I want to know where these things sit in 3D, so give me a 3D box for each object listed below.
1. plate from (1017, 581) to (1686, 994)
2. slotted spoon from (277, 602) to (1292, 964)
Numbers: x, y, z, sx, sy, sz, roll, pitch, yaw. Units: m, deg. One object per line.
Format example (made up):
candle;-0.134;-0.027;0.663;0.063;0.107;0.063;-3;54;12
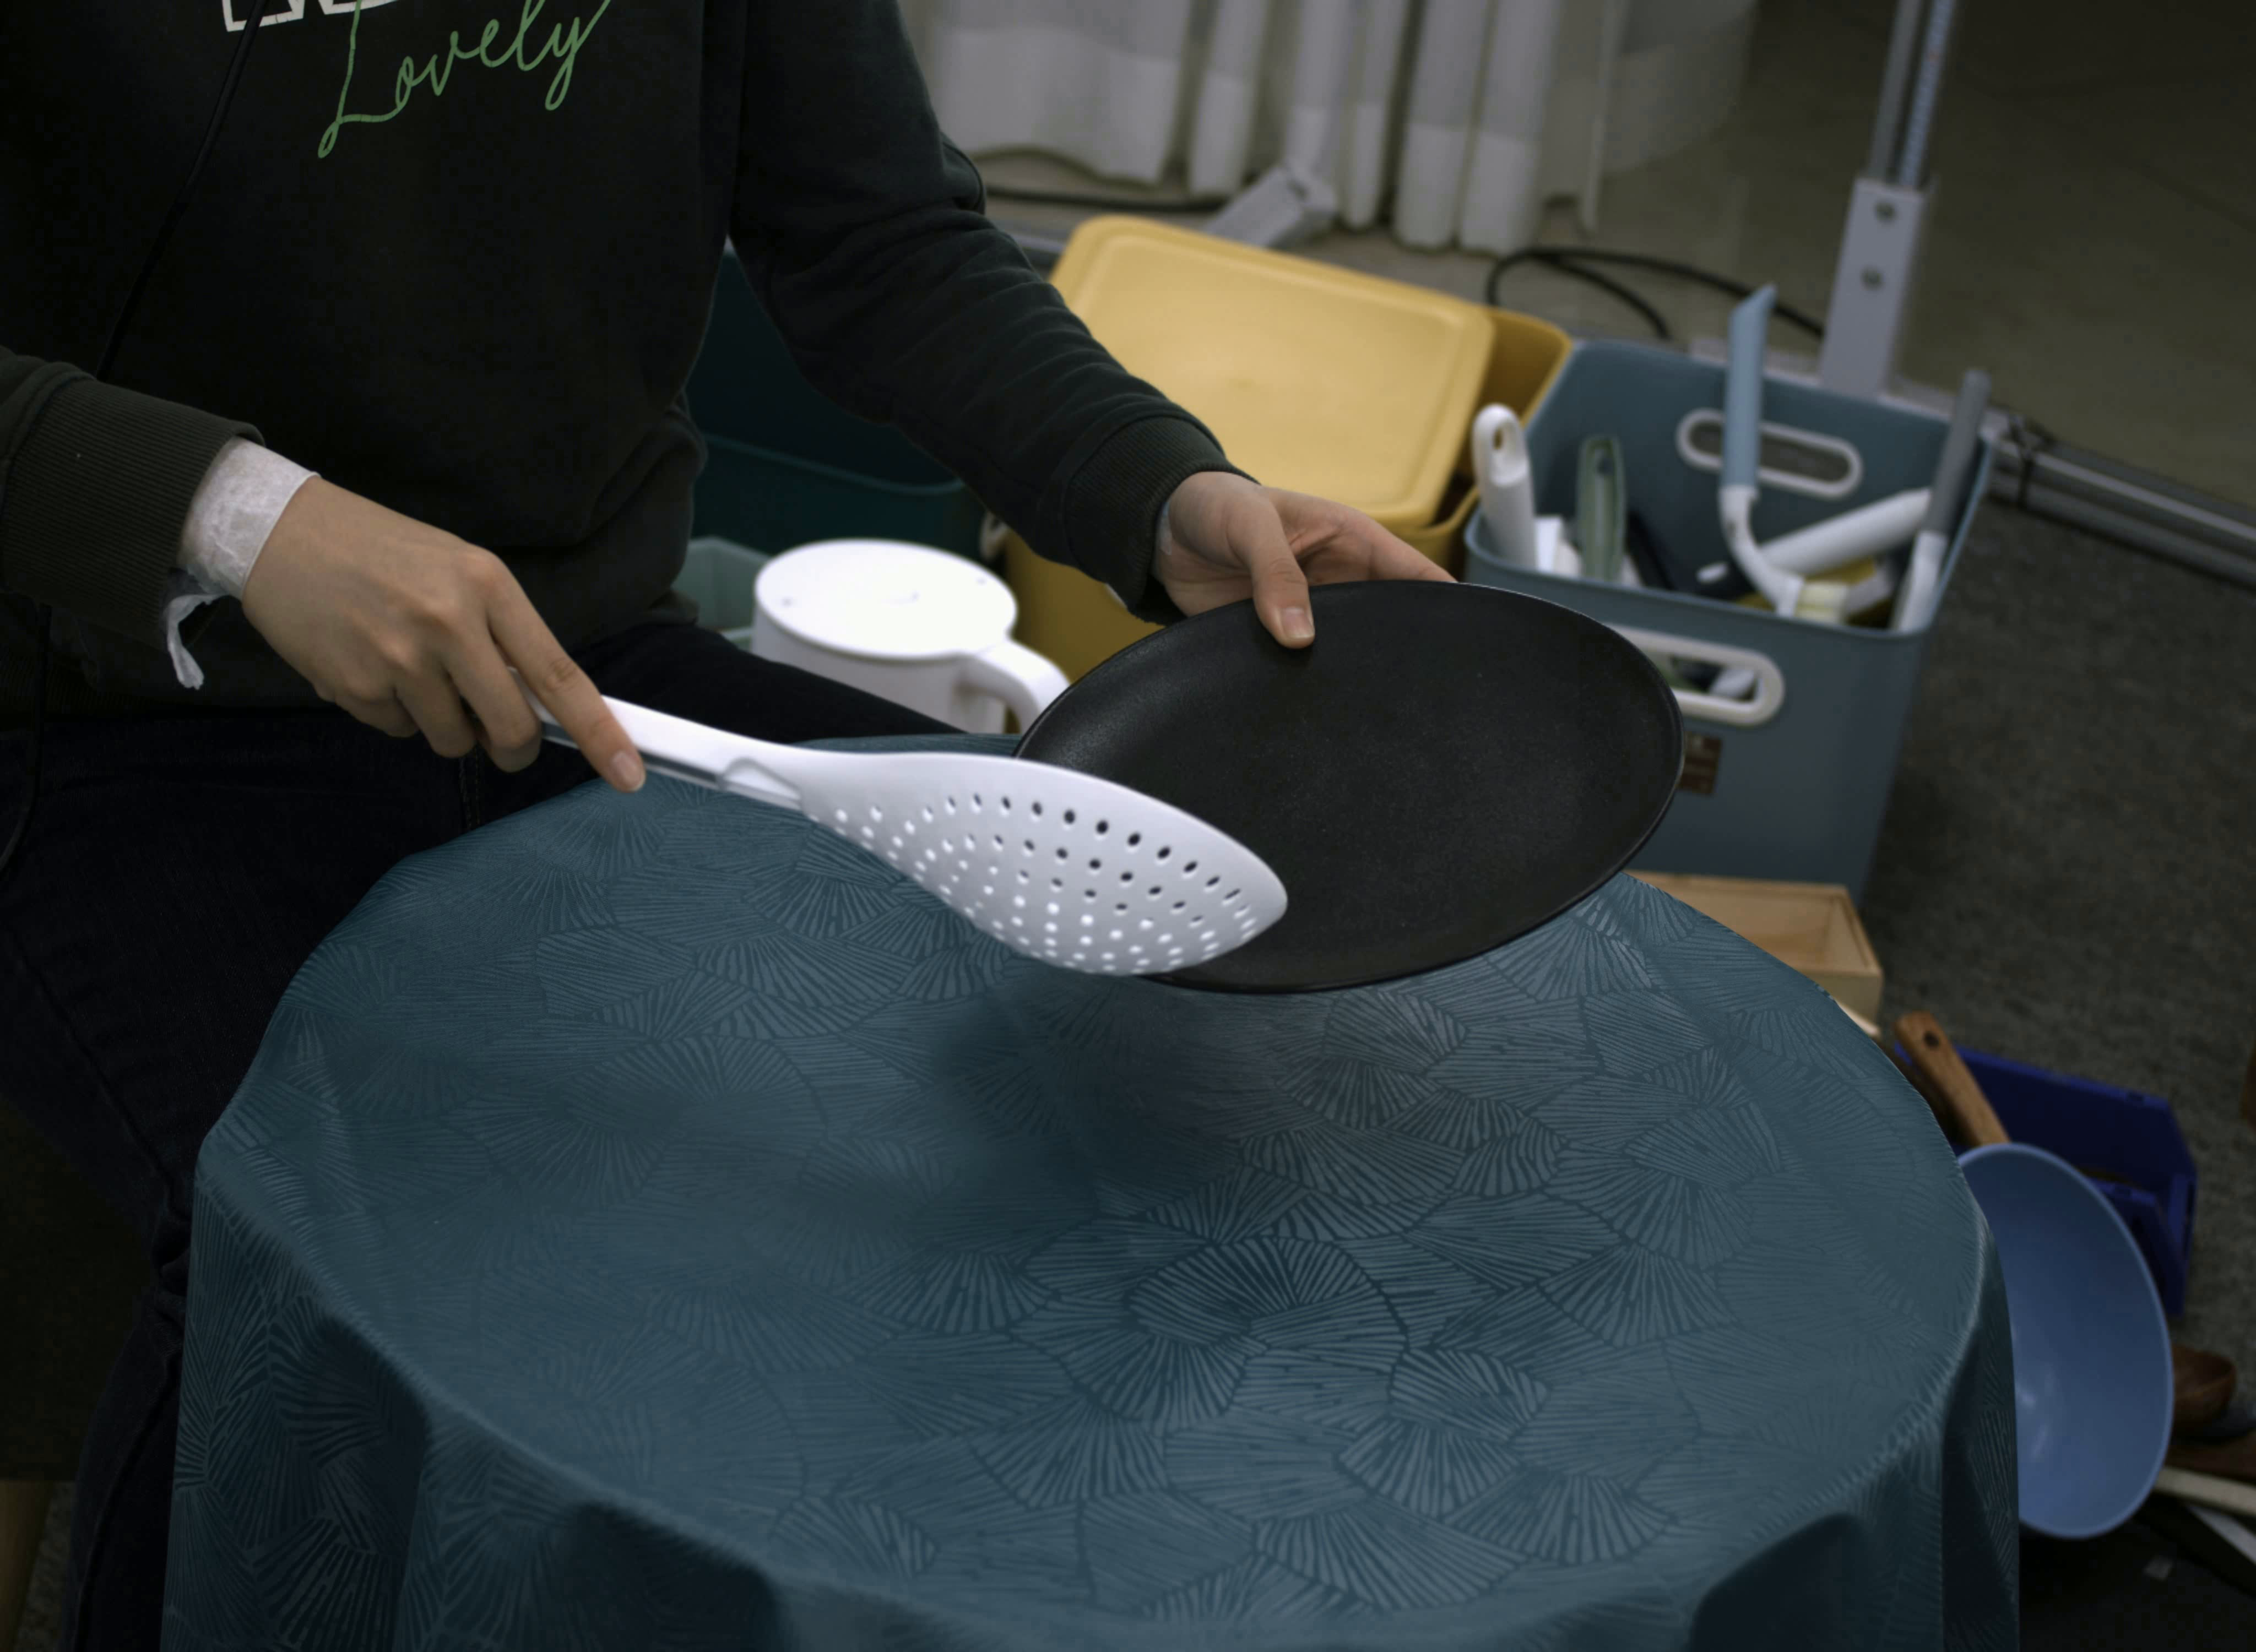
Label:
plate;0.074;-0.010;1.854;0.244;0.023;0.246;-8;34;5
slotted spoon;-0.116;-0.020;1.755;0.350;0.135;0.046;20;71;10
